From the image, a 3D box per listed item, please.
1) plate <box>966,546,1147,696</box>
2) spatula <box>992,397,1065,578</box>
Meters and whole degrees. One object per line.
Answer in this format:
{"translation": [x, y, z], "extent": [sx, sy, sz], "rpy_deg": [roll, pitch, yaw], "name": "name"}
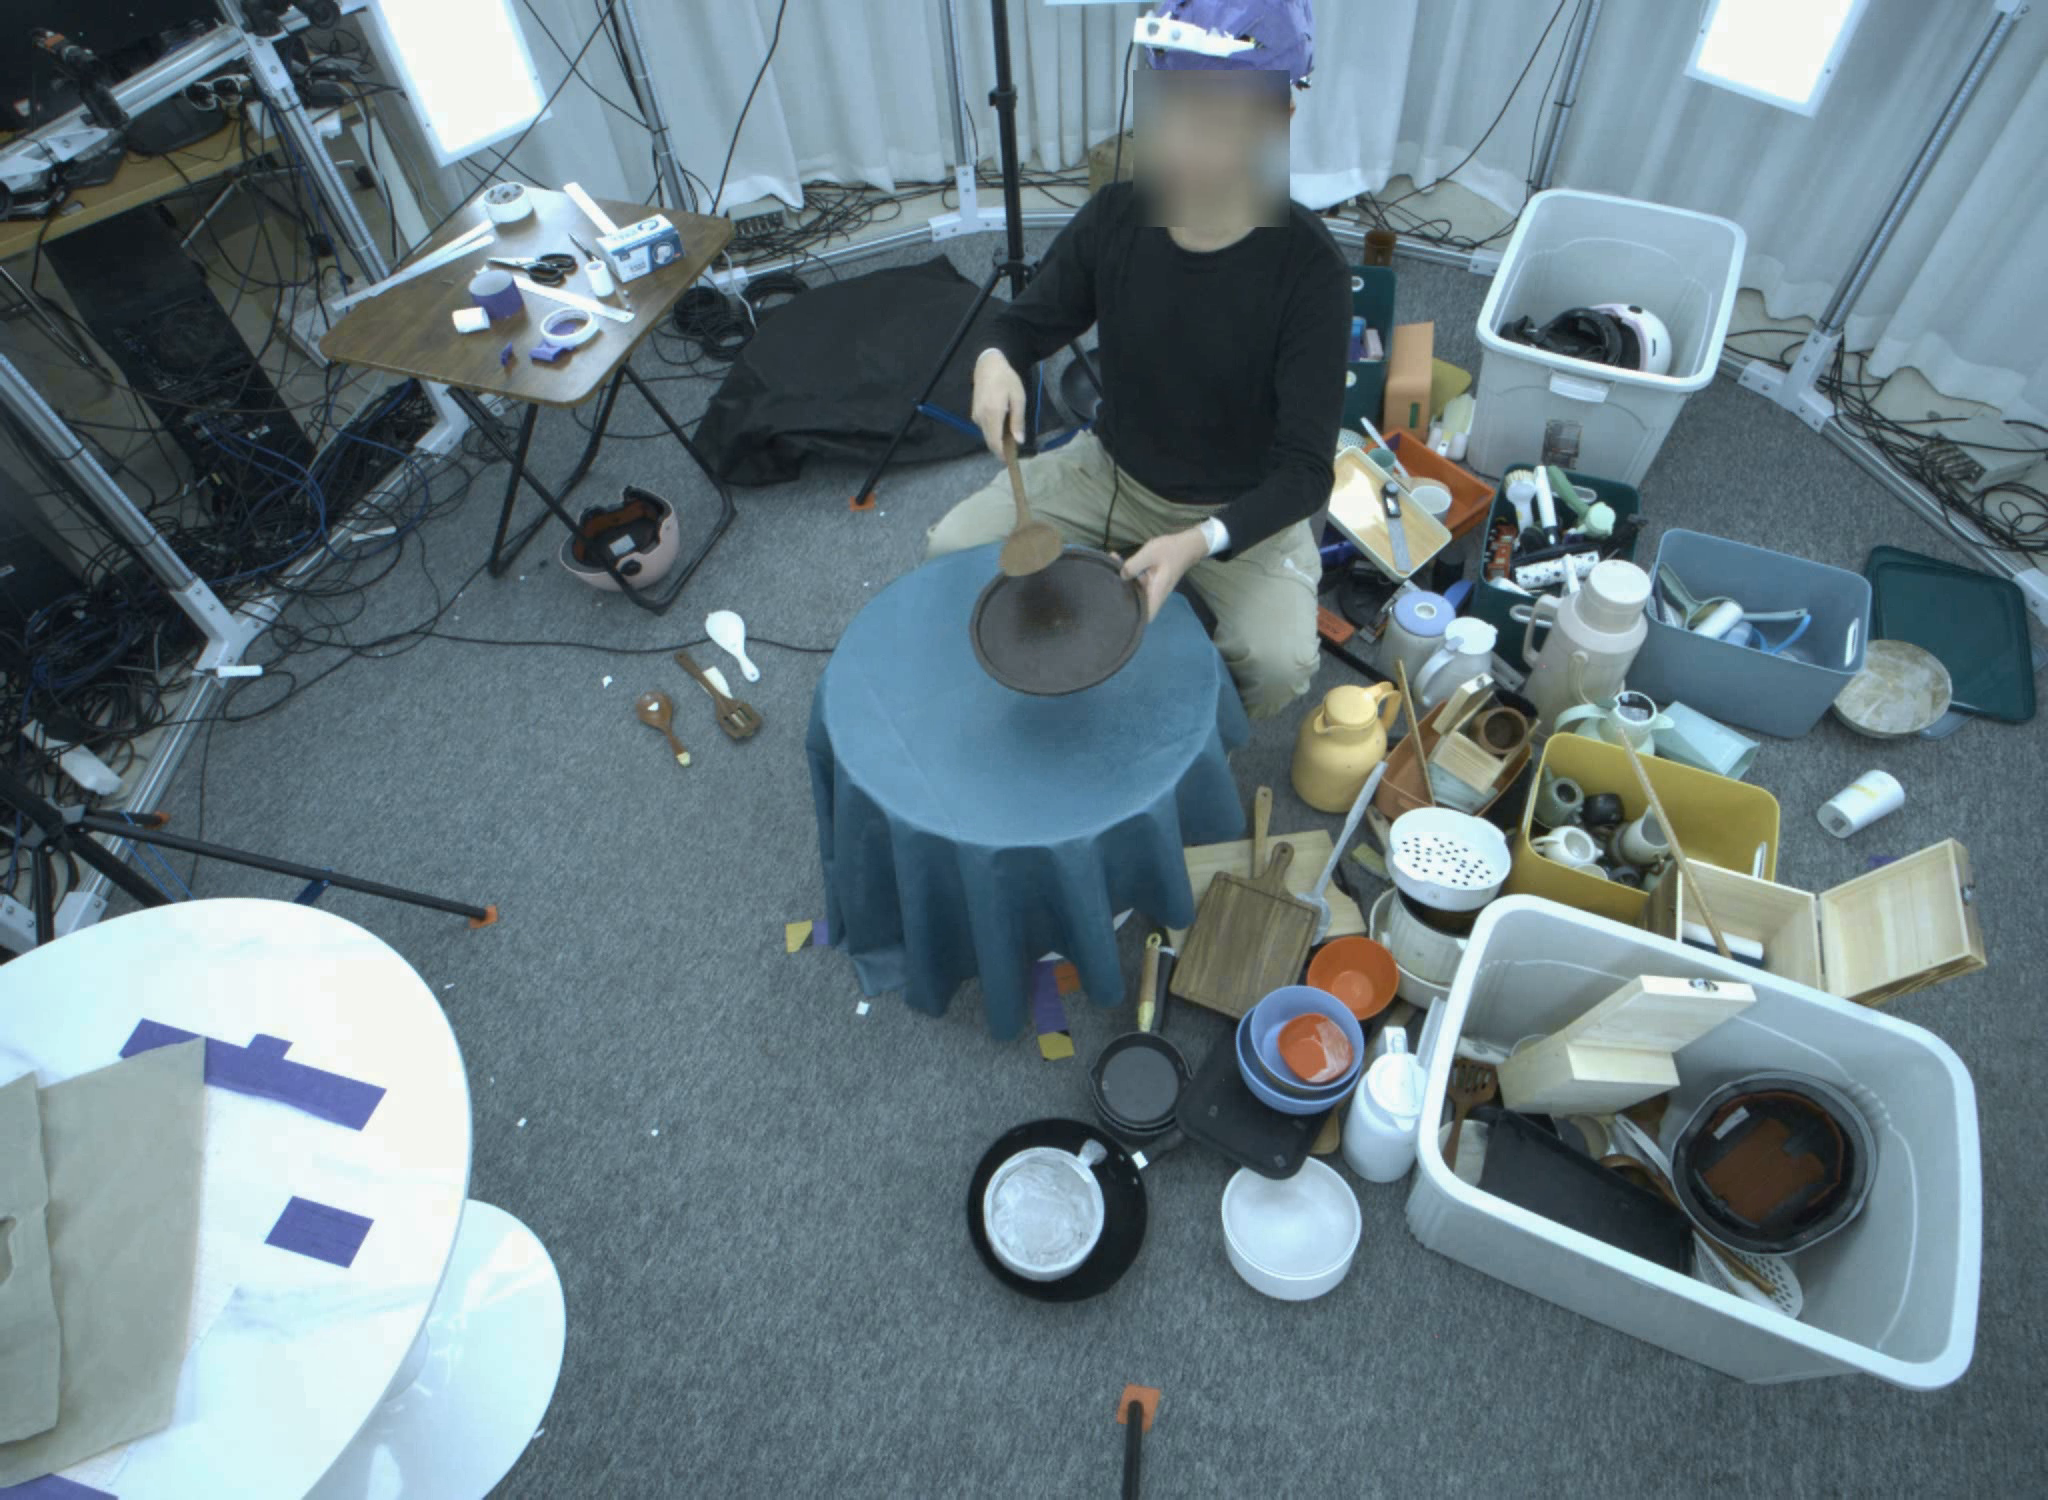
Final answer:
{"translation": [0.045, -0.181, 1.704], "extent": [0.253, 0.029, 0.252], "rpy_deg": [-5, 59, 9], "name": "plate"}
{"translation": [-0.014, -0.395, 1.761], "extent": [0.095, 0.016, 0.381], "rpy_deg": [-18, 57, 11], "name": "spatula"}
